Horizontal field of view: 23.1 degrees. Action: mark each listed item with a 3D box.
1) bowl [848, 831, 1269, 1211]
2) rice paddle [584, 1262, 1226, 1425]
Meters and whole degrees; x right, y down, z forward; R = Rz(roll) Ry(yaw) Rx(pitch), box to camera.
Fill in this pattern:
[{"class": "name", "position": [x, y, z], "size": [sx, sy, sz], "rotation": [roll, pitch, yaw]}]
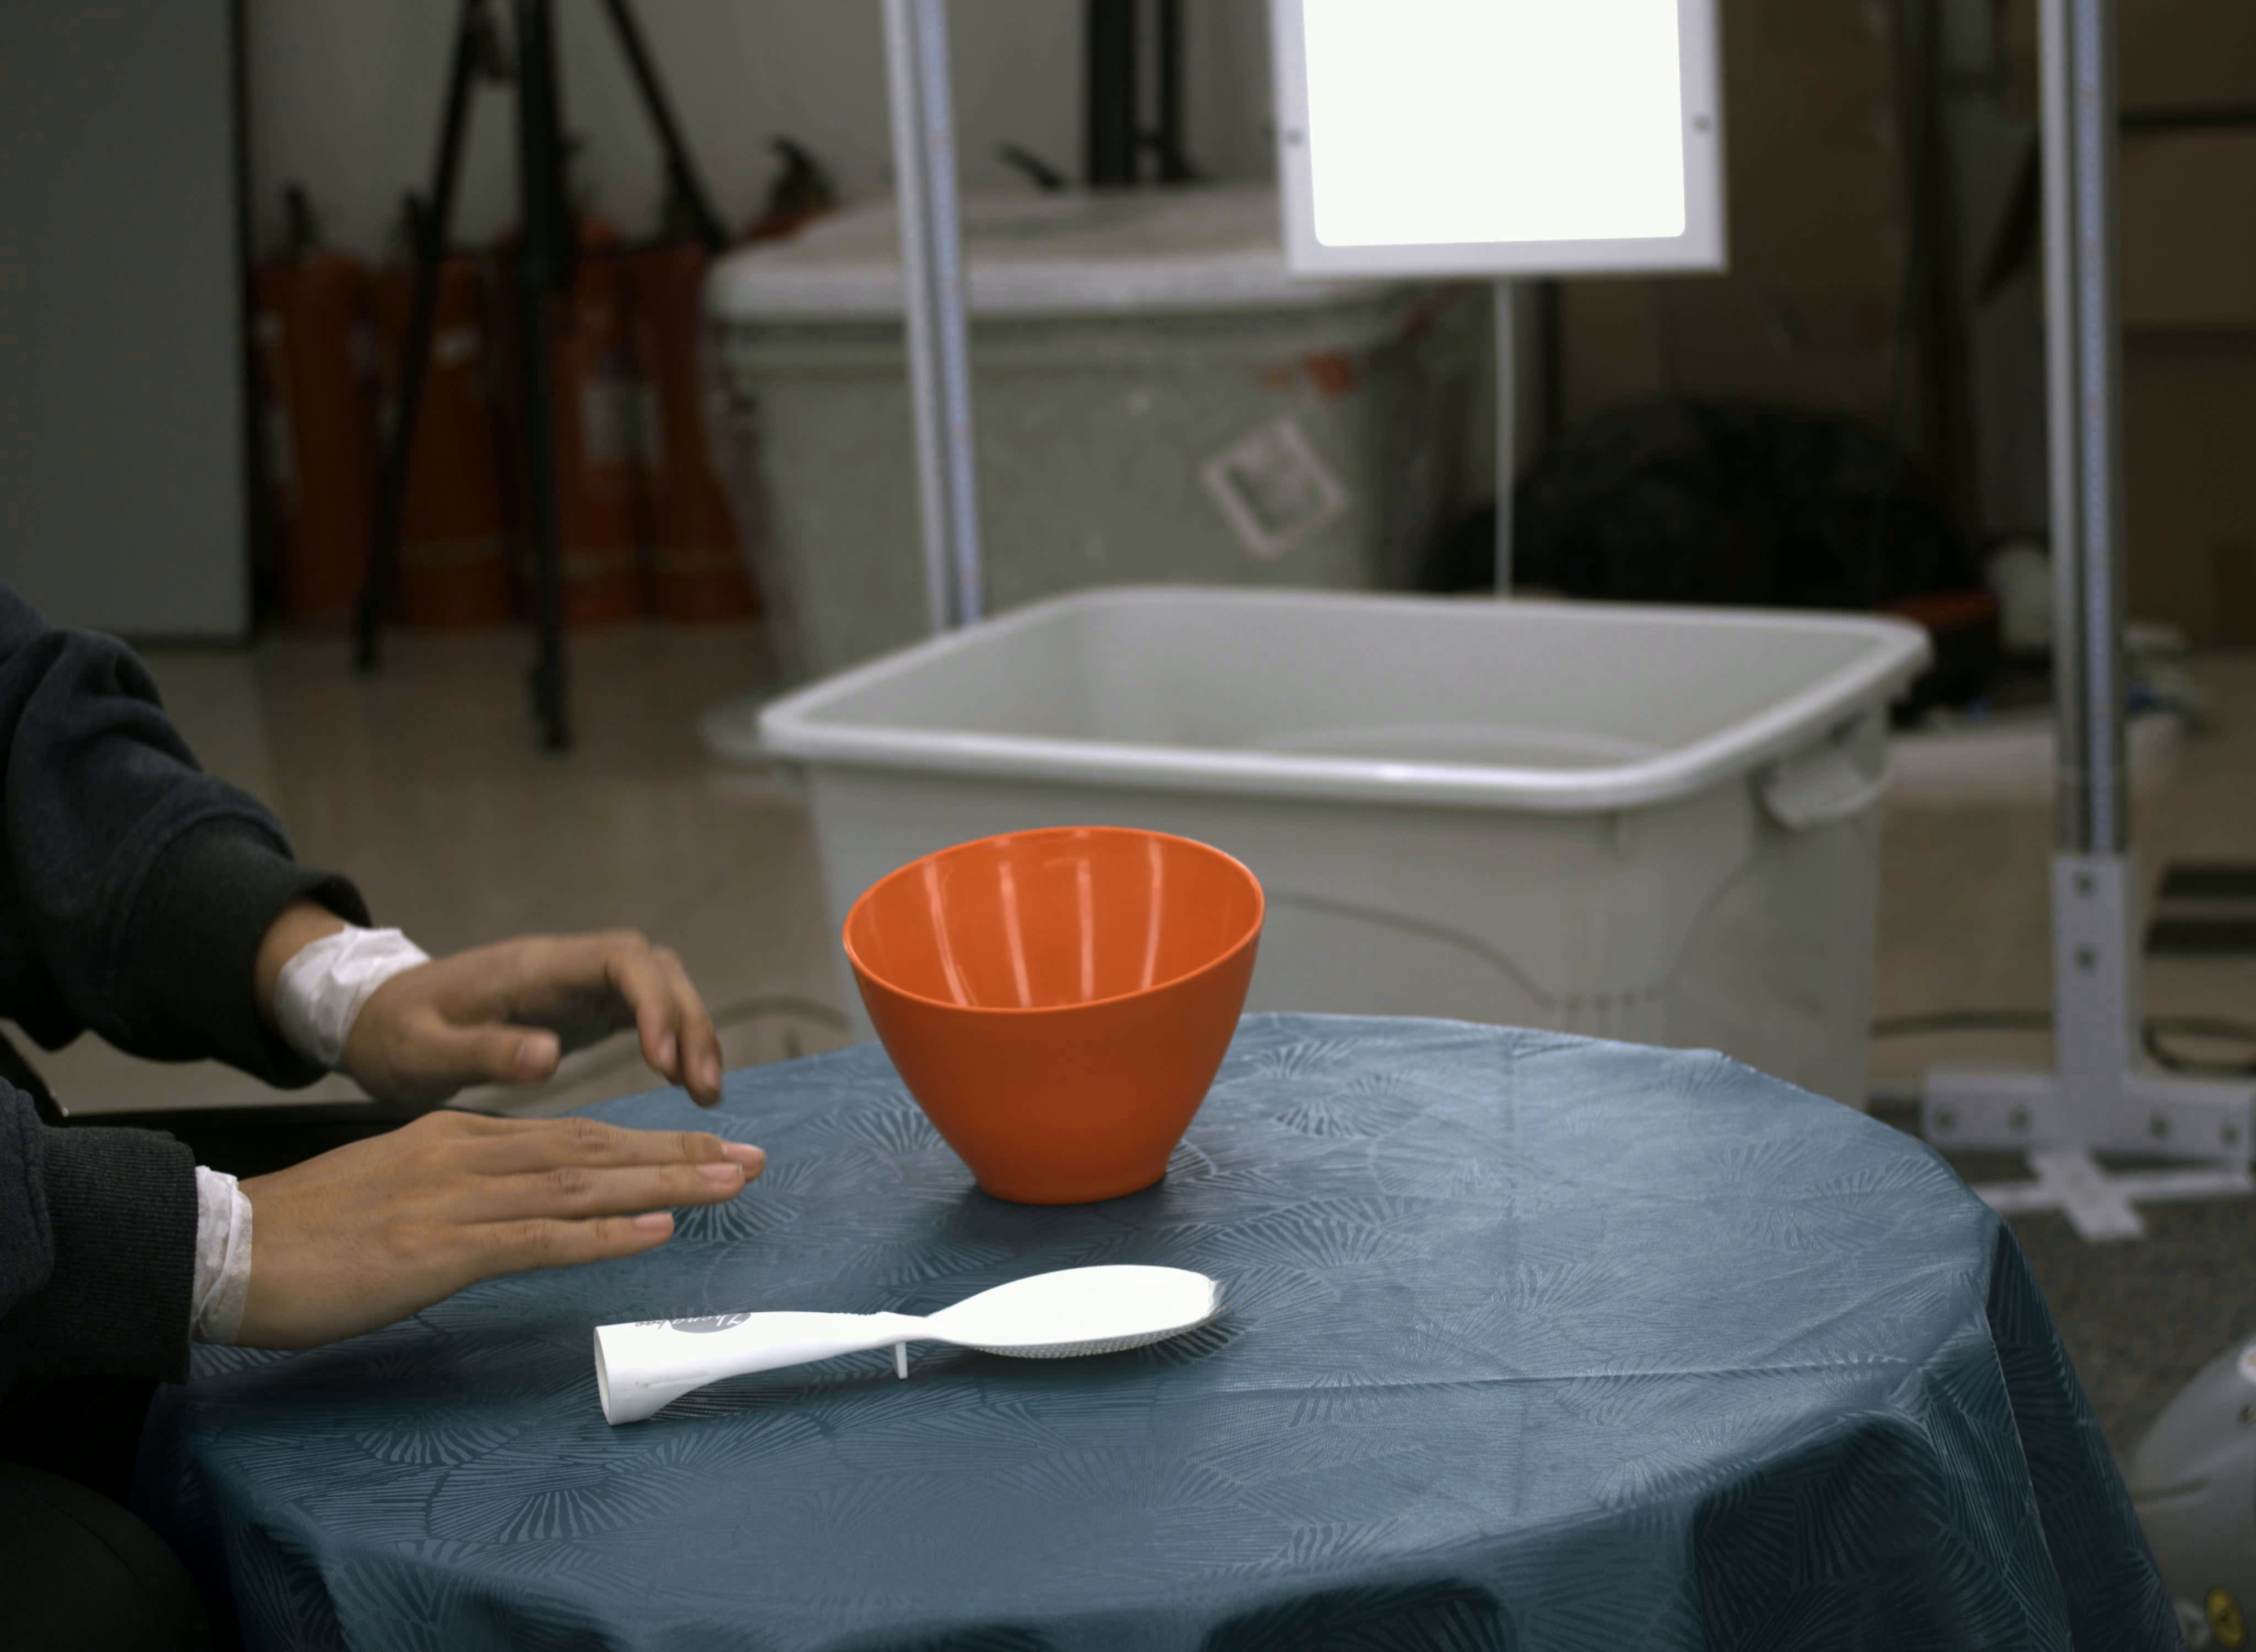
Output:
[{"class": "bowl", "position": [-0.021, 0.072, 1.919], "size": [0.147, 0.105, 0.148], "rotation": [-5, 15, 0]}, {"class": "rice paddle", "position": [-0.068, 0.157, 1.732], "size": [0.203, 0.029, 0.069], "rotation": [-7, 15, -10]}]
